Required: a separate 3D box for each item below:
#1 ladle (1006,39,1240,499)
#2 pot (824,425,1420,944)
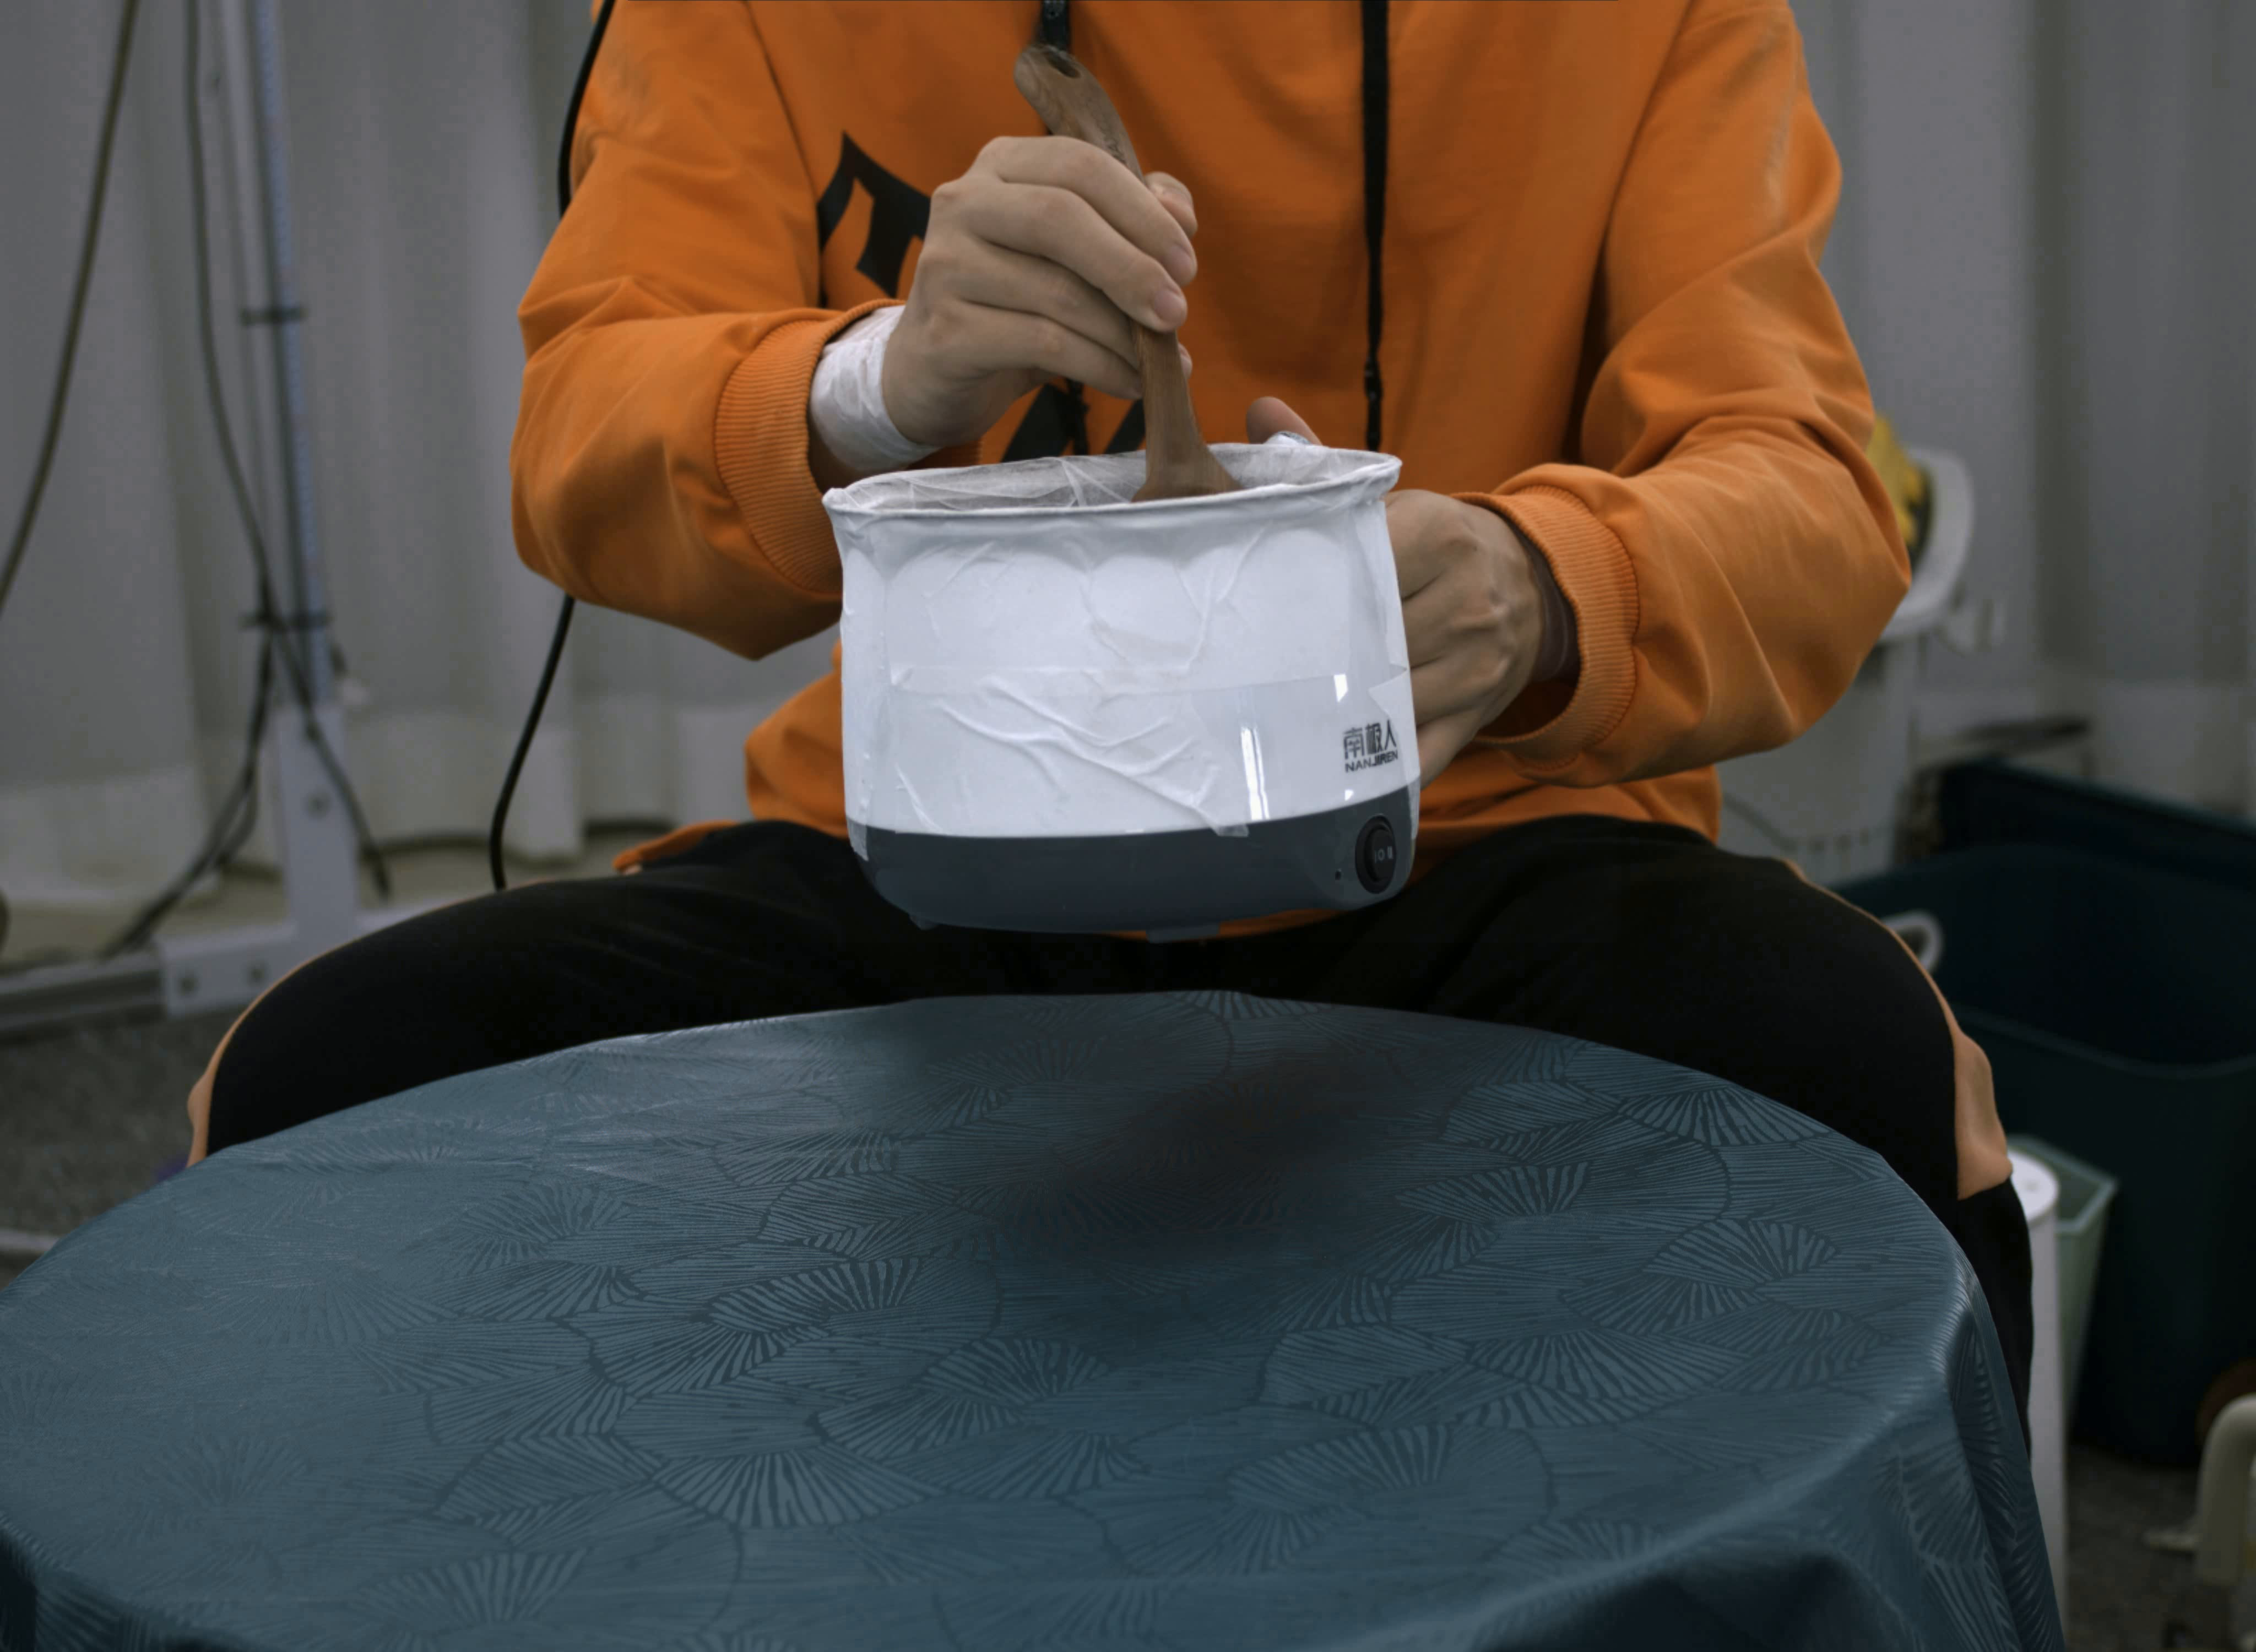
[{"bbox_3d":[0.012,-0.167,1.726,0.076,0.064,0.264,9,49,-33],"label":"ladle"},{"bbox_3d":[0.014,-0.048,1.695,0.179,0.136,0.233,2,11,33],"label":"pot"}]
